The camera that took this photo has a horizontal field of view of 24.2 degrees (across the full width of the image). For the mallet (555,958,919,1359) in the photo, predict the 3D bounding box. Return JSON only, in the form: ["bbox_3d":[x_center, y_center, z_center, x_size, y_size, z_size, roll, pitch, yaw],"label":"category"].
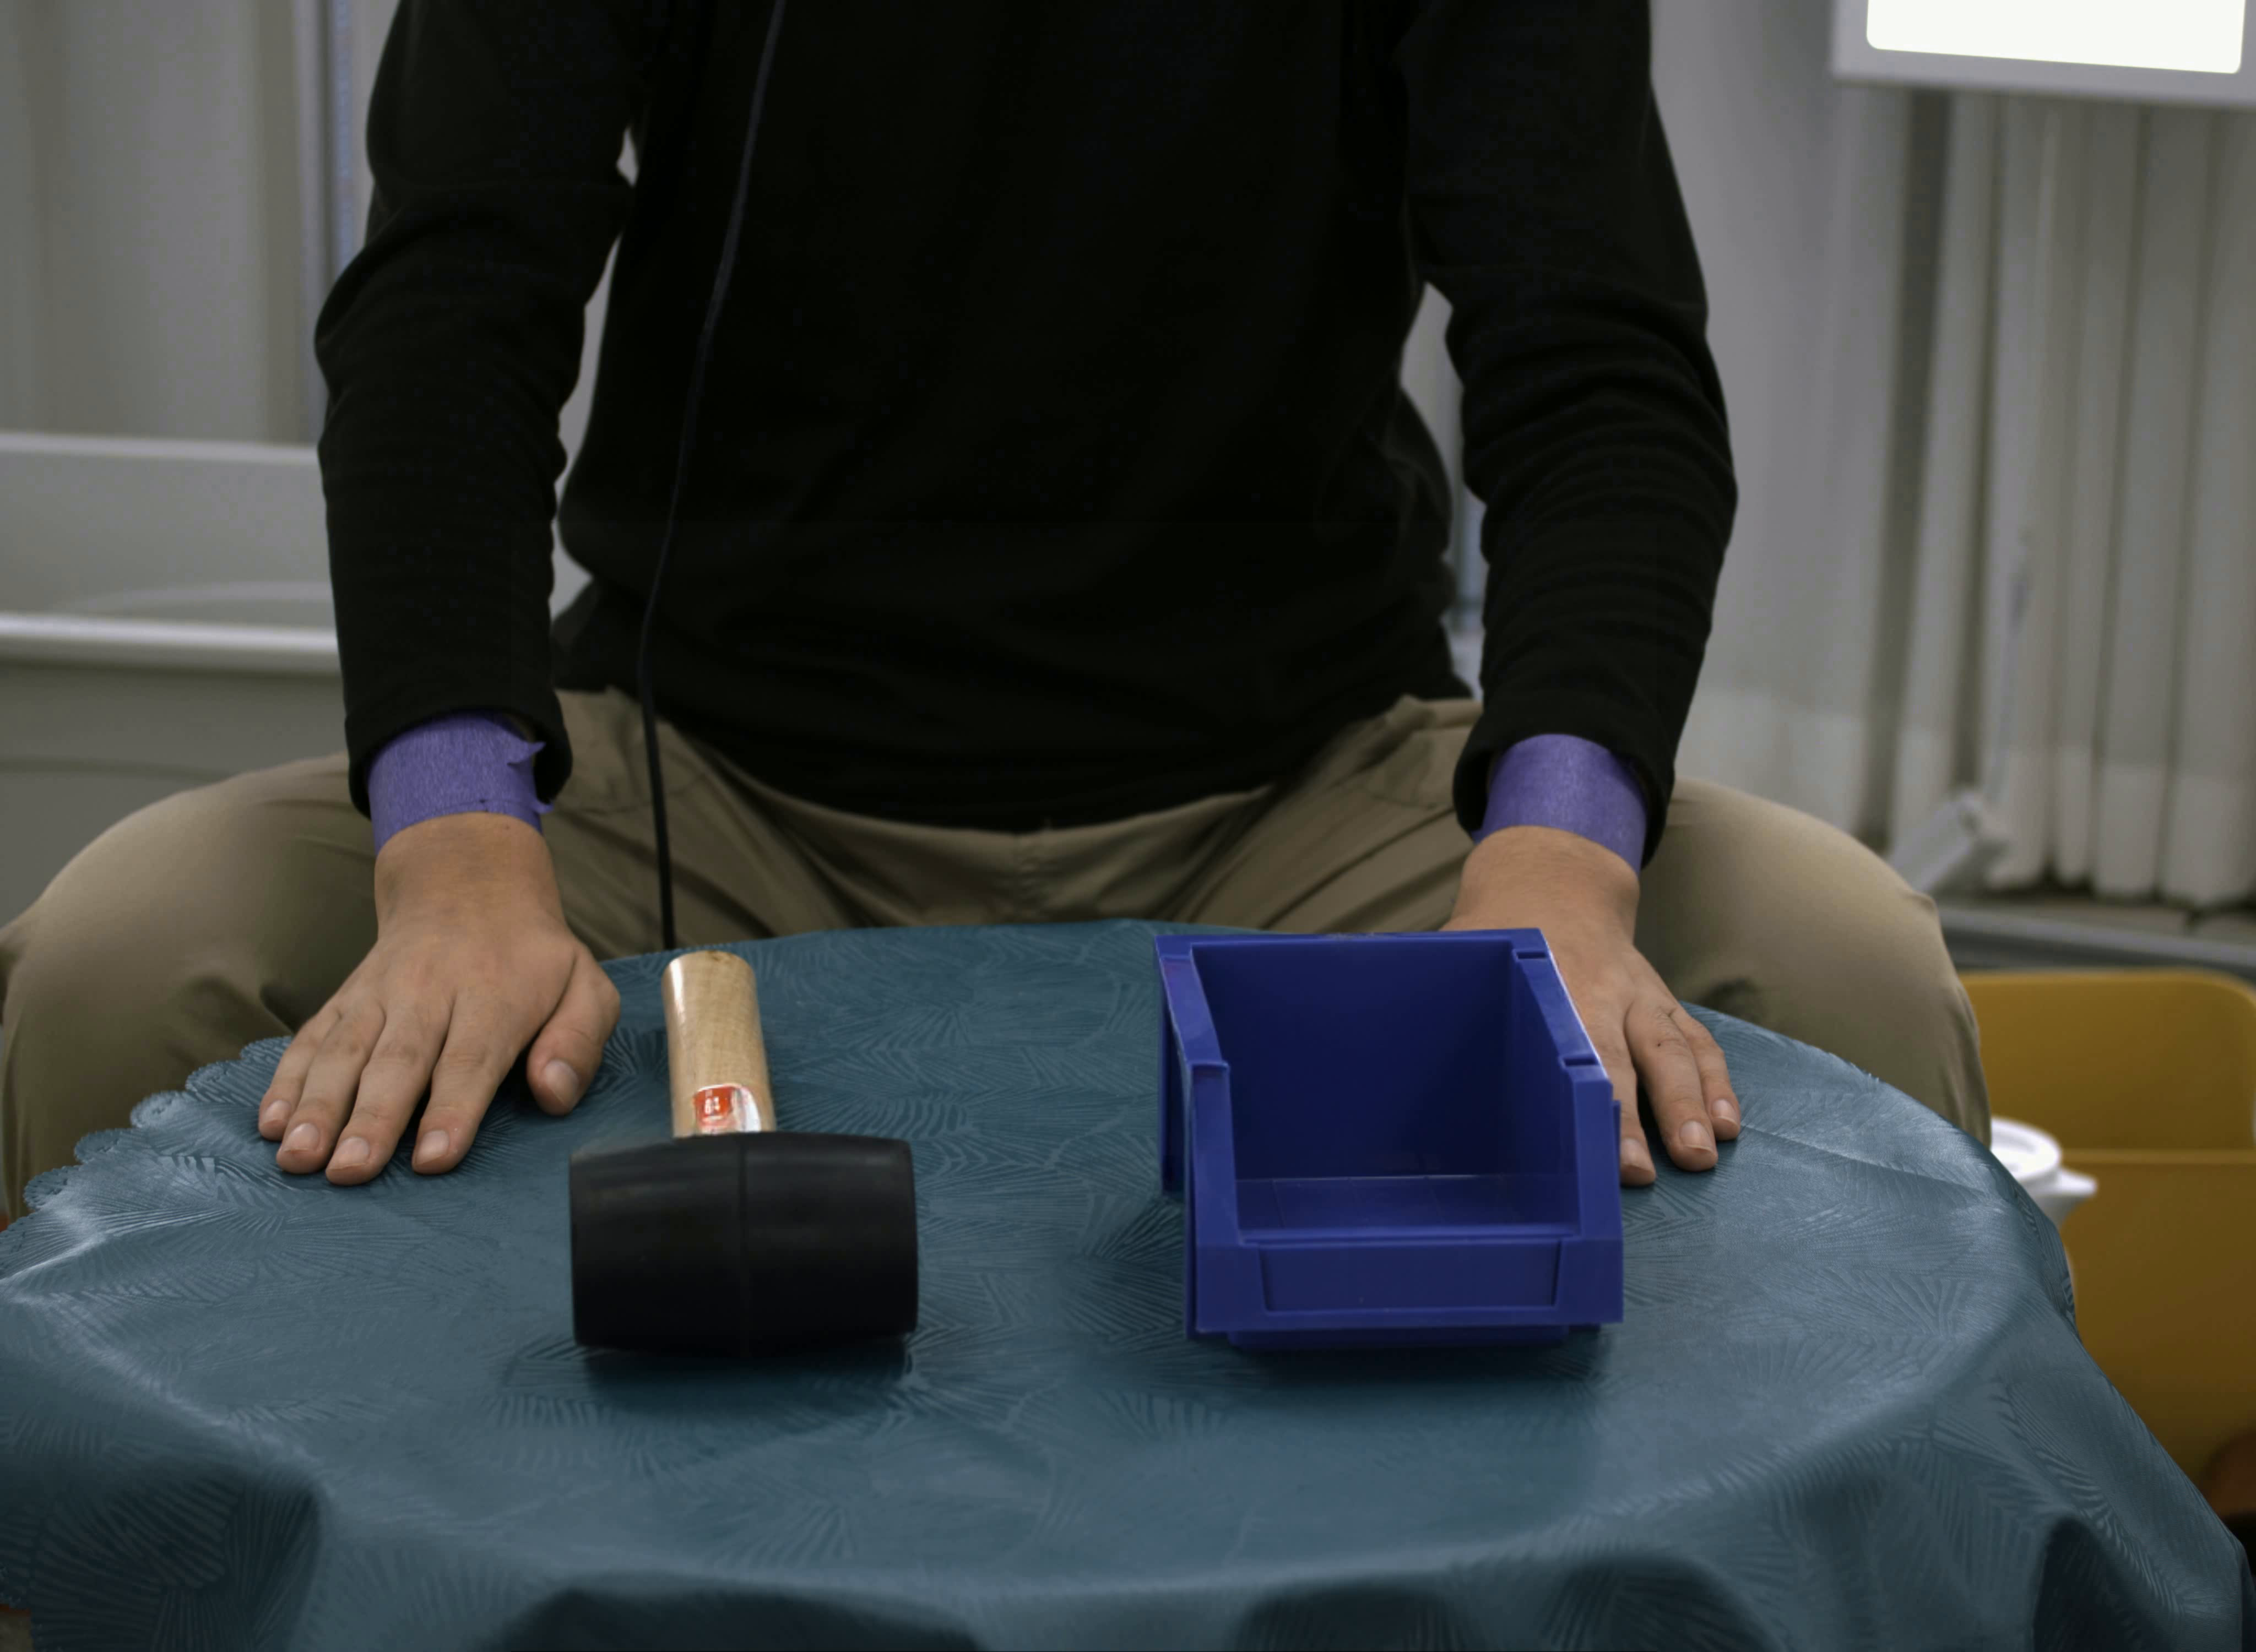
[{"bbox_3d":[-0.123,0.083,1.612,0.102,0.065,0.336,1,15,-6],"label":"mallet"}]

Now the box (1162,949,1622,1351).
[{"bbox_3d":[0.076,0.096,1.531,0.124,0.082,0.178,0,12,-3],"label":"box"}]
